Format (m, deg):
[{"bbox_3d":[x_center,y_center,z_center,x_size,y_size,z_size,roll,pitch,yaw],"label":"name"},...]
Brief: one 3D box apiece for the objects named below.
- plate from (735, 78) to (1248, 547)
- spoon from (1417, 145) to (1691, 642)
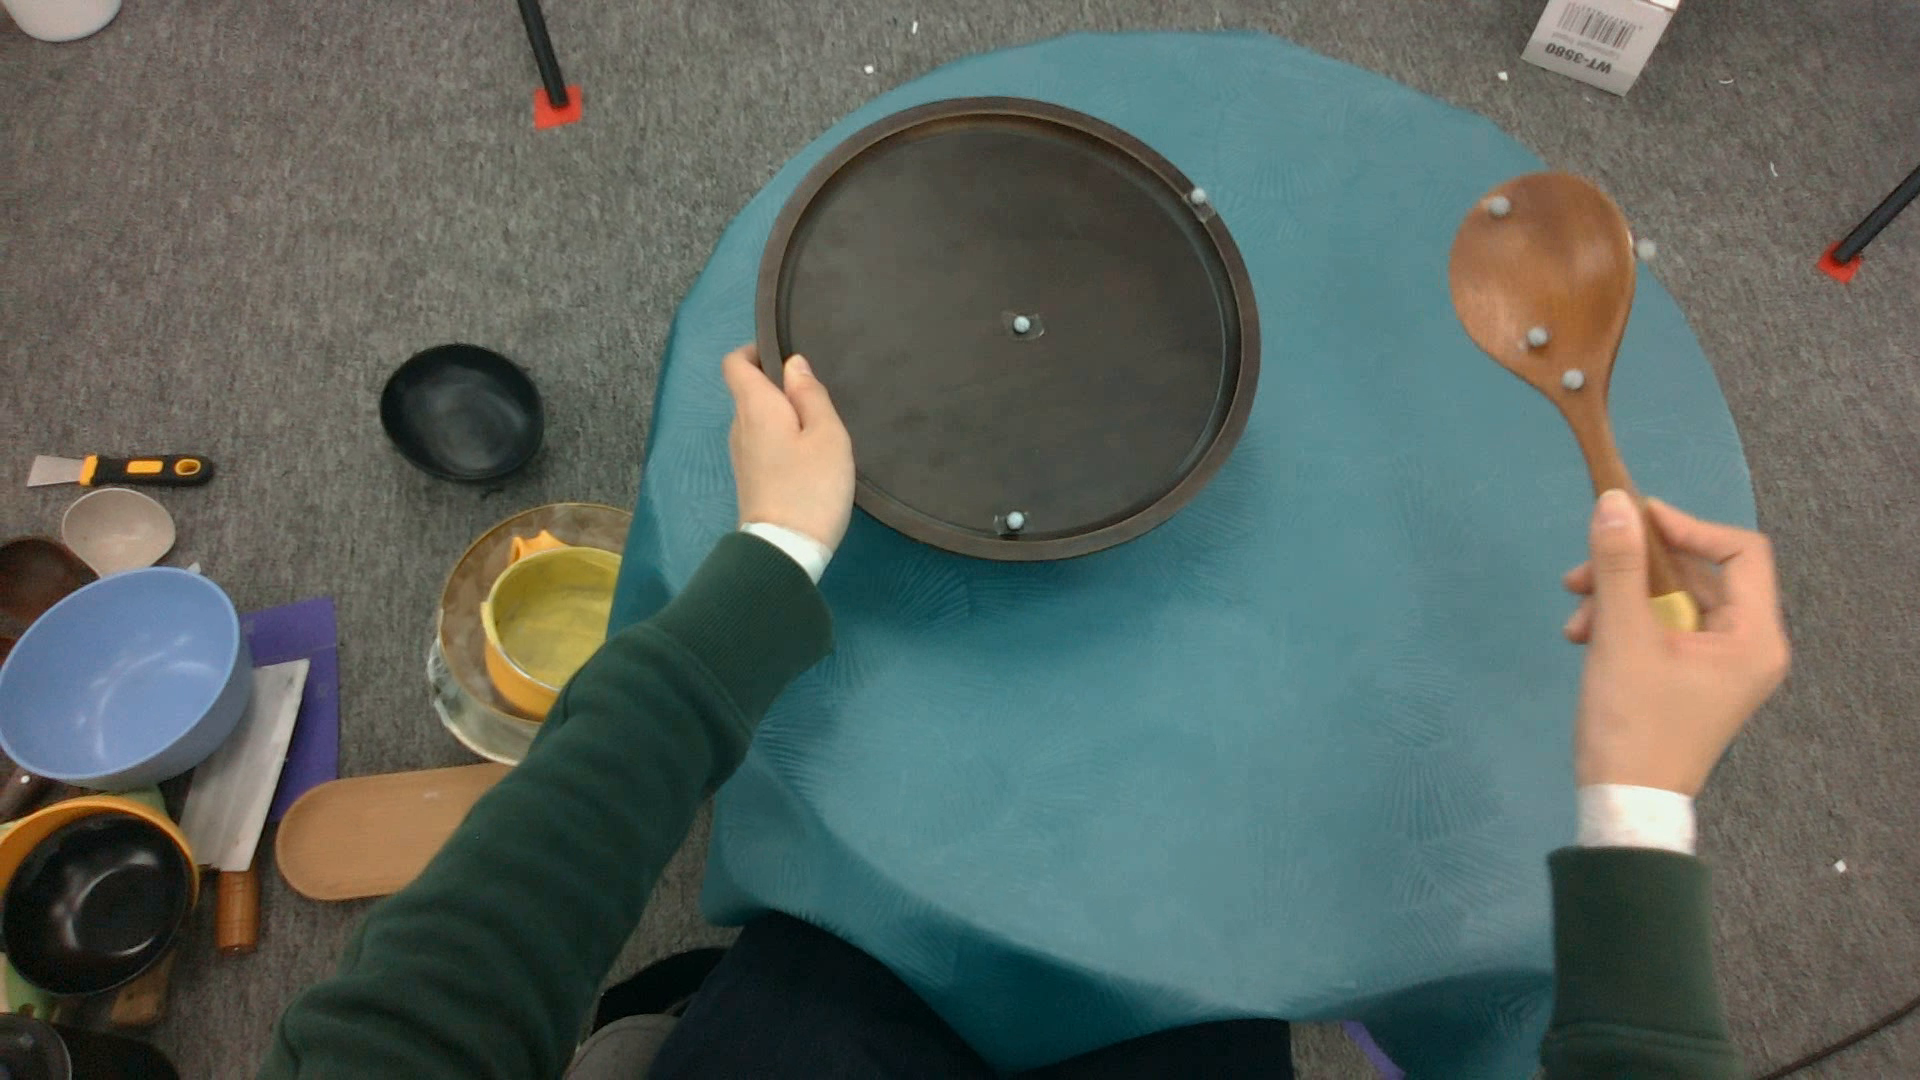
[{"bbox_3d":[0.017,-0.116,0.680,0.255,0.029,0.255,3,71,-8],"label":"plate"},{"bbox_3d":[0.246,-0.063,0.557,0.075,0.017,0.216,-23,70,30],"label":"spoon"}]
